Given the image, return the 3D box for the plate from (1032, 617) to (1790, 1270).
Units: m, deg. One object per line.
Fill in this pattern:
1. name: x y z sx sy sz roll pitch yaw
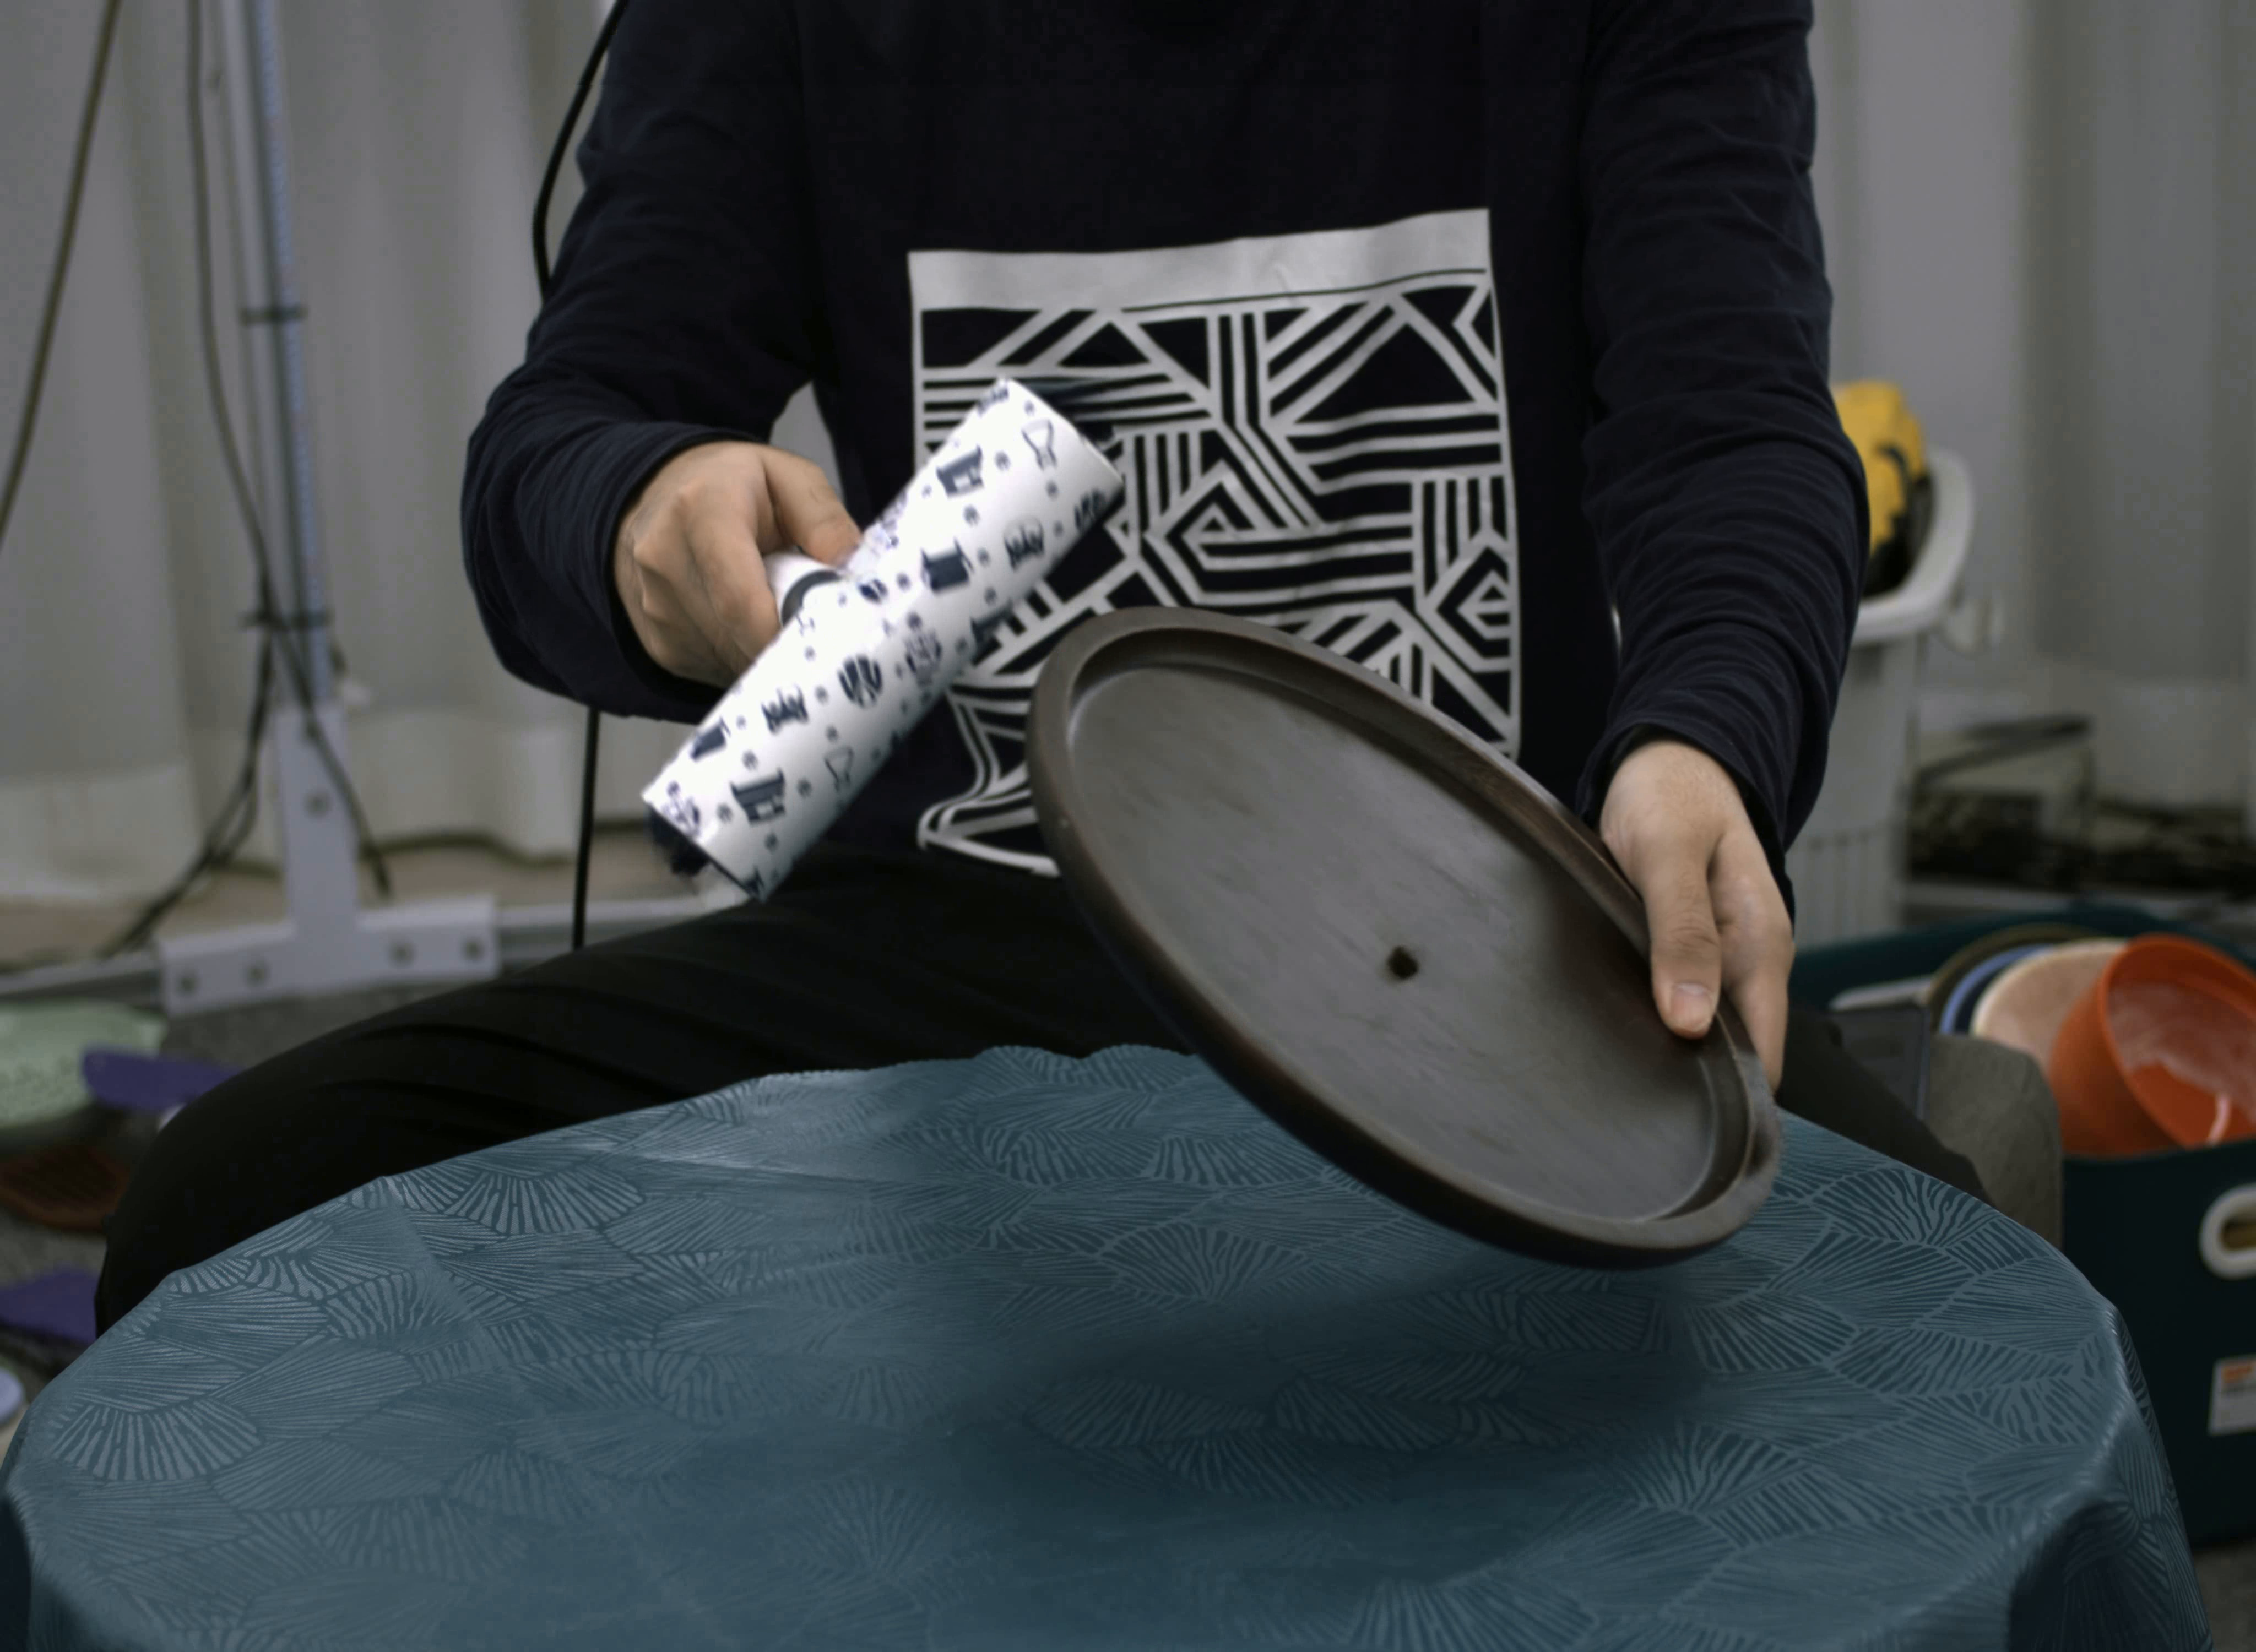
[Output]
1. plate: 0.078 0.032 1.532 0.253 0.029 0.258 31 25 -16

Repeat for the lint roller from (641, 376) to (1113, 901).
1. lint roller: -0.096 -0.064 1.666 0.176 0.050 0.248 -50 15 -5
